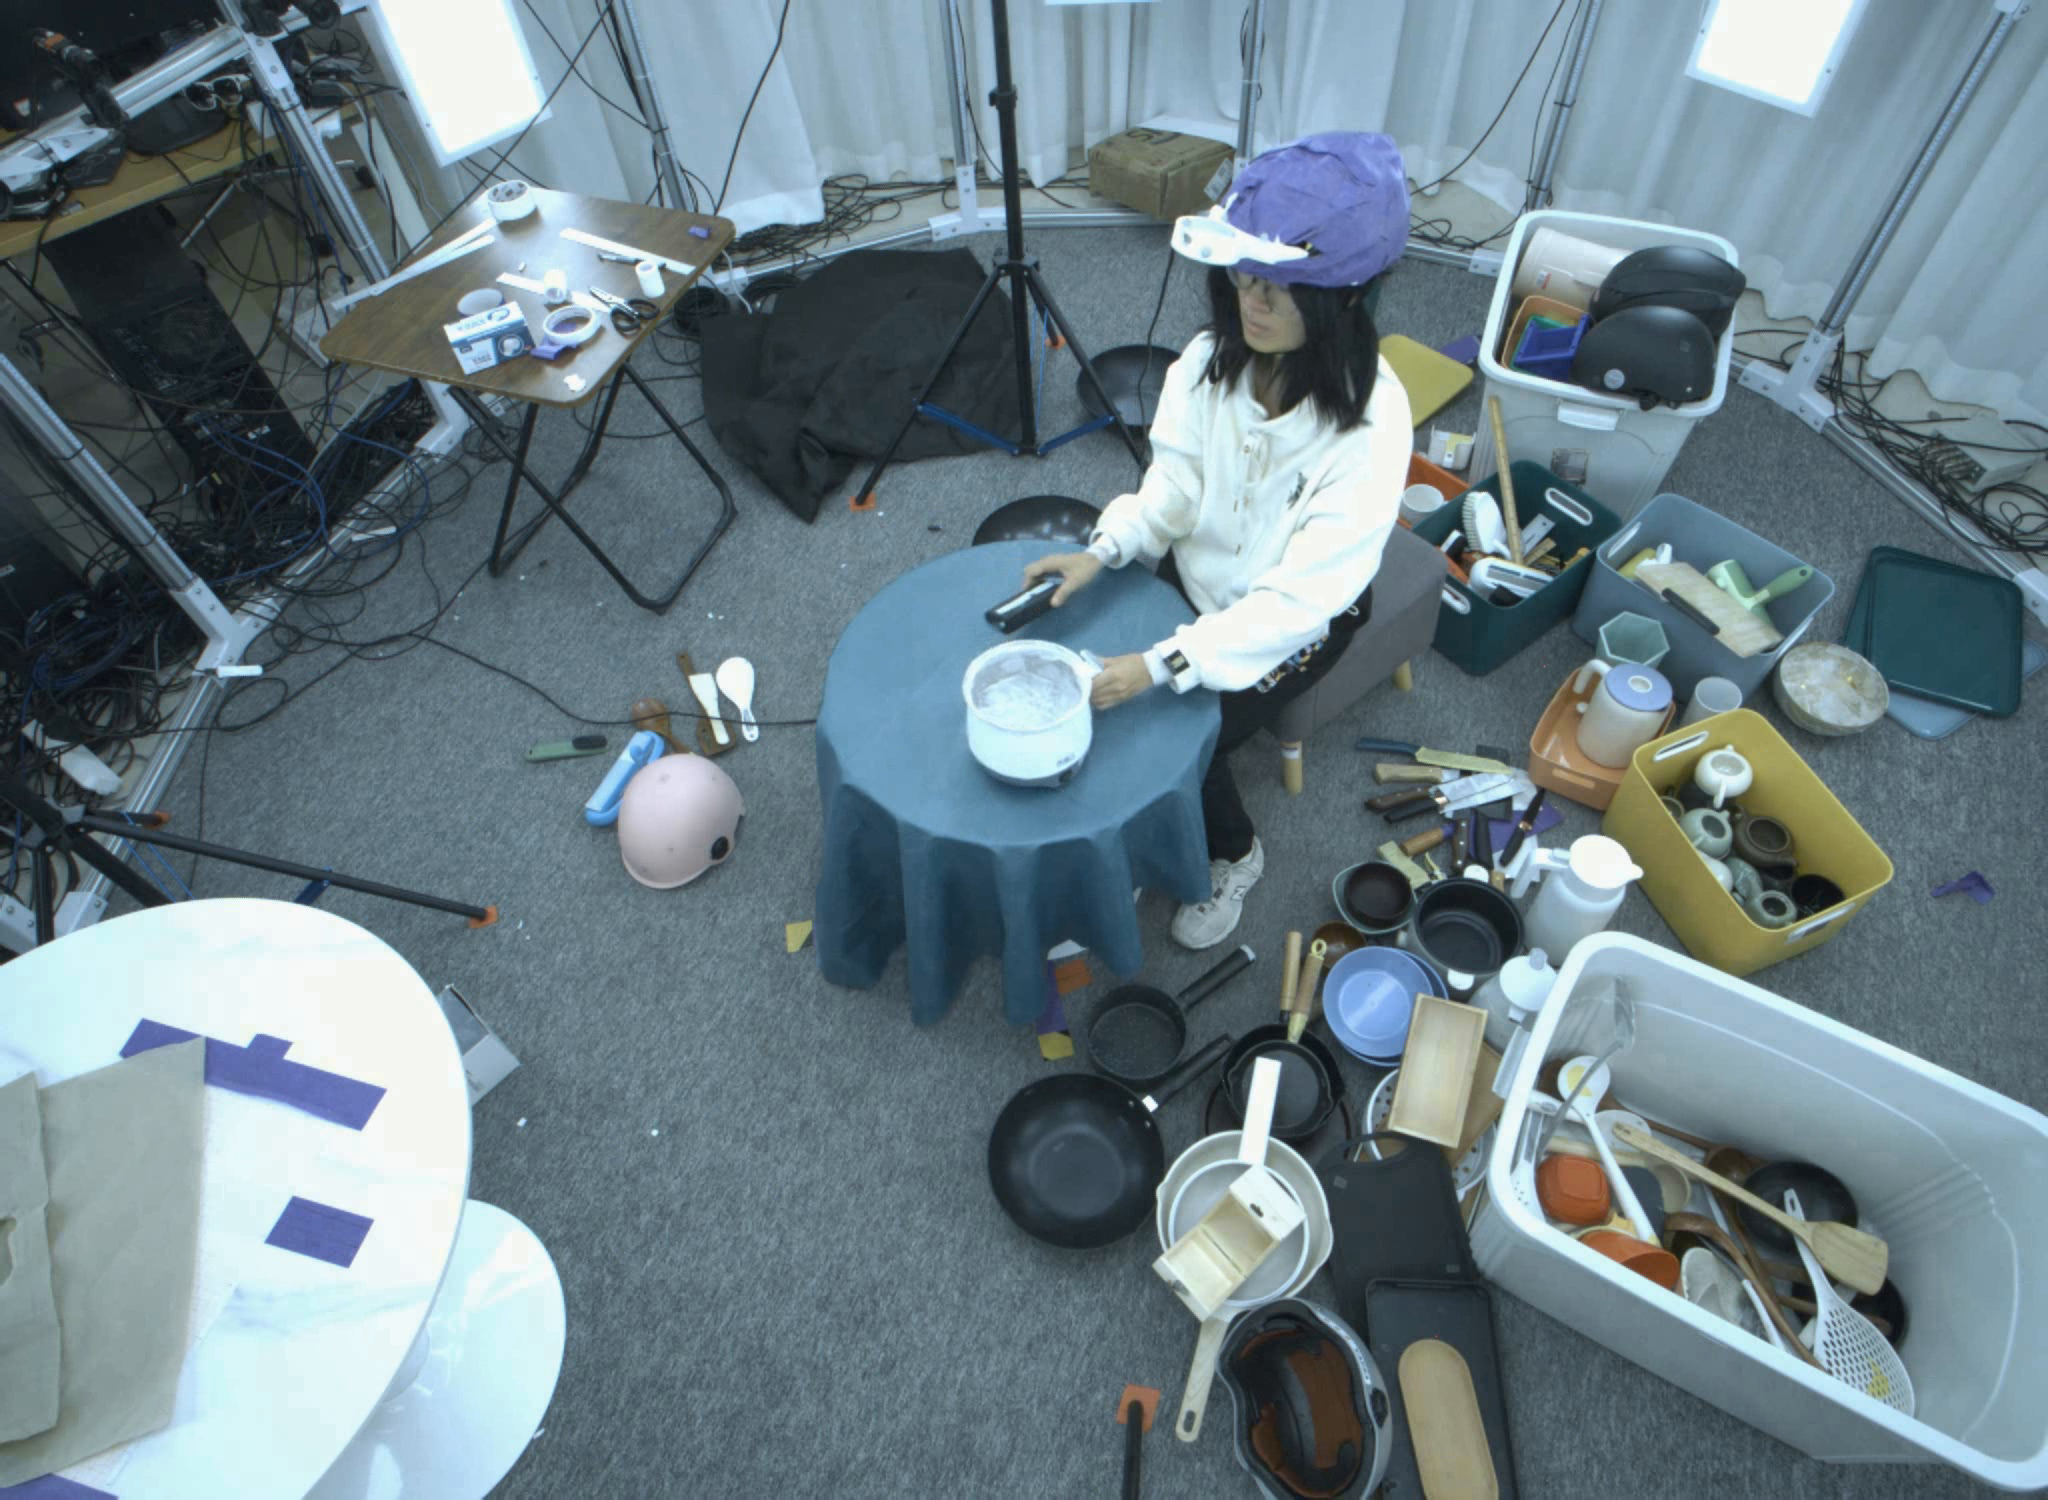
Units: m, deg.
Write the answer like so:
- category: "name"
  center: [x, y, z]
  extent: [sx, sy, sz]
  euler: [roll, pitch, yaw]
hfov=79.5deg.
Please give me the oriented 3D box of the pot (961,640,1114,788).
- category: "pot"
  center: [0.027, -0.060, 1.739]
  extent: [0.236, 0.138, 0.175]
  euler: [-31, 57, -22]

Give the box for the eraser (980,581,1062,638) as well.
- category: "eraser"
  center: [-0.004, -0.216, 1.879]
  extent: [0.127, 0.031, 0.052]
  euler: [-33, 39, -28]
